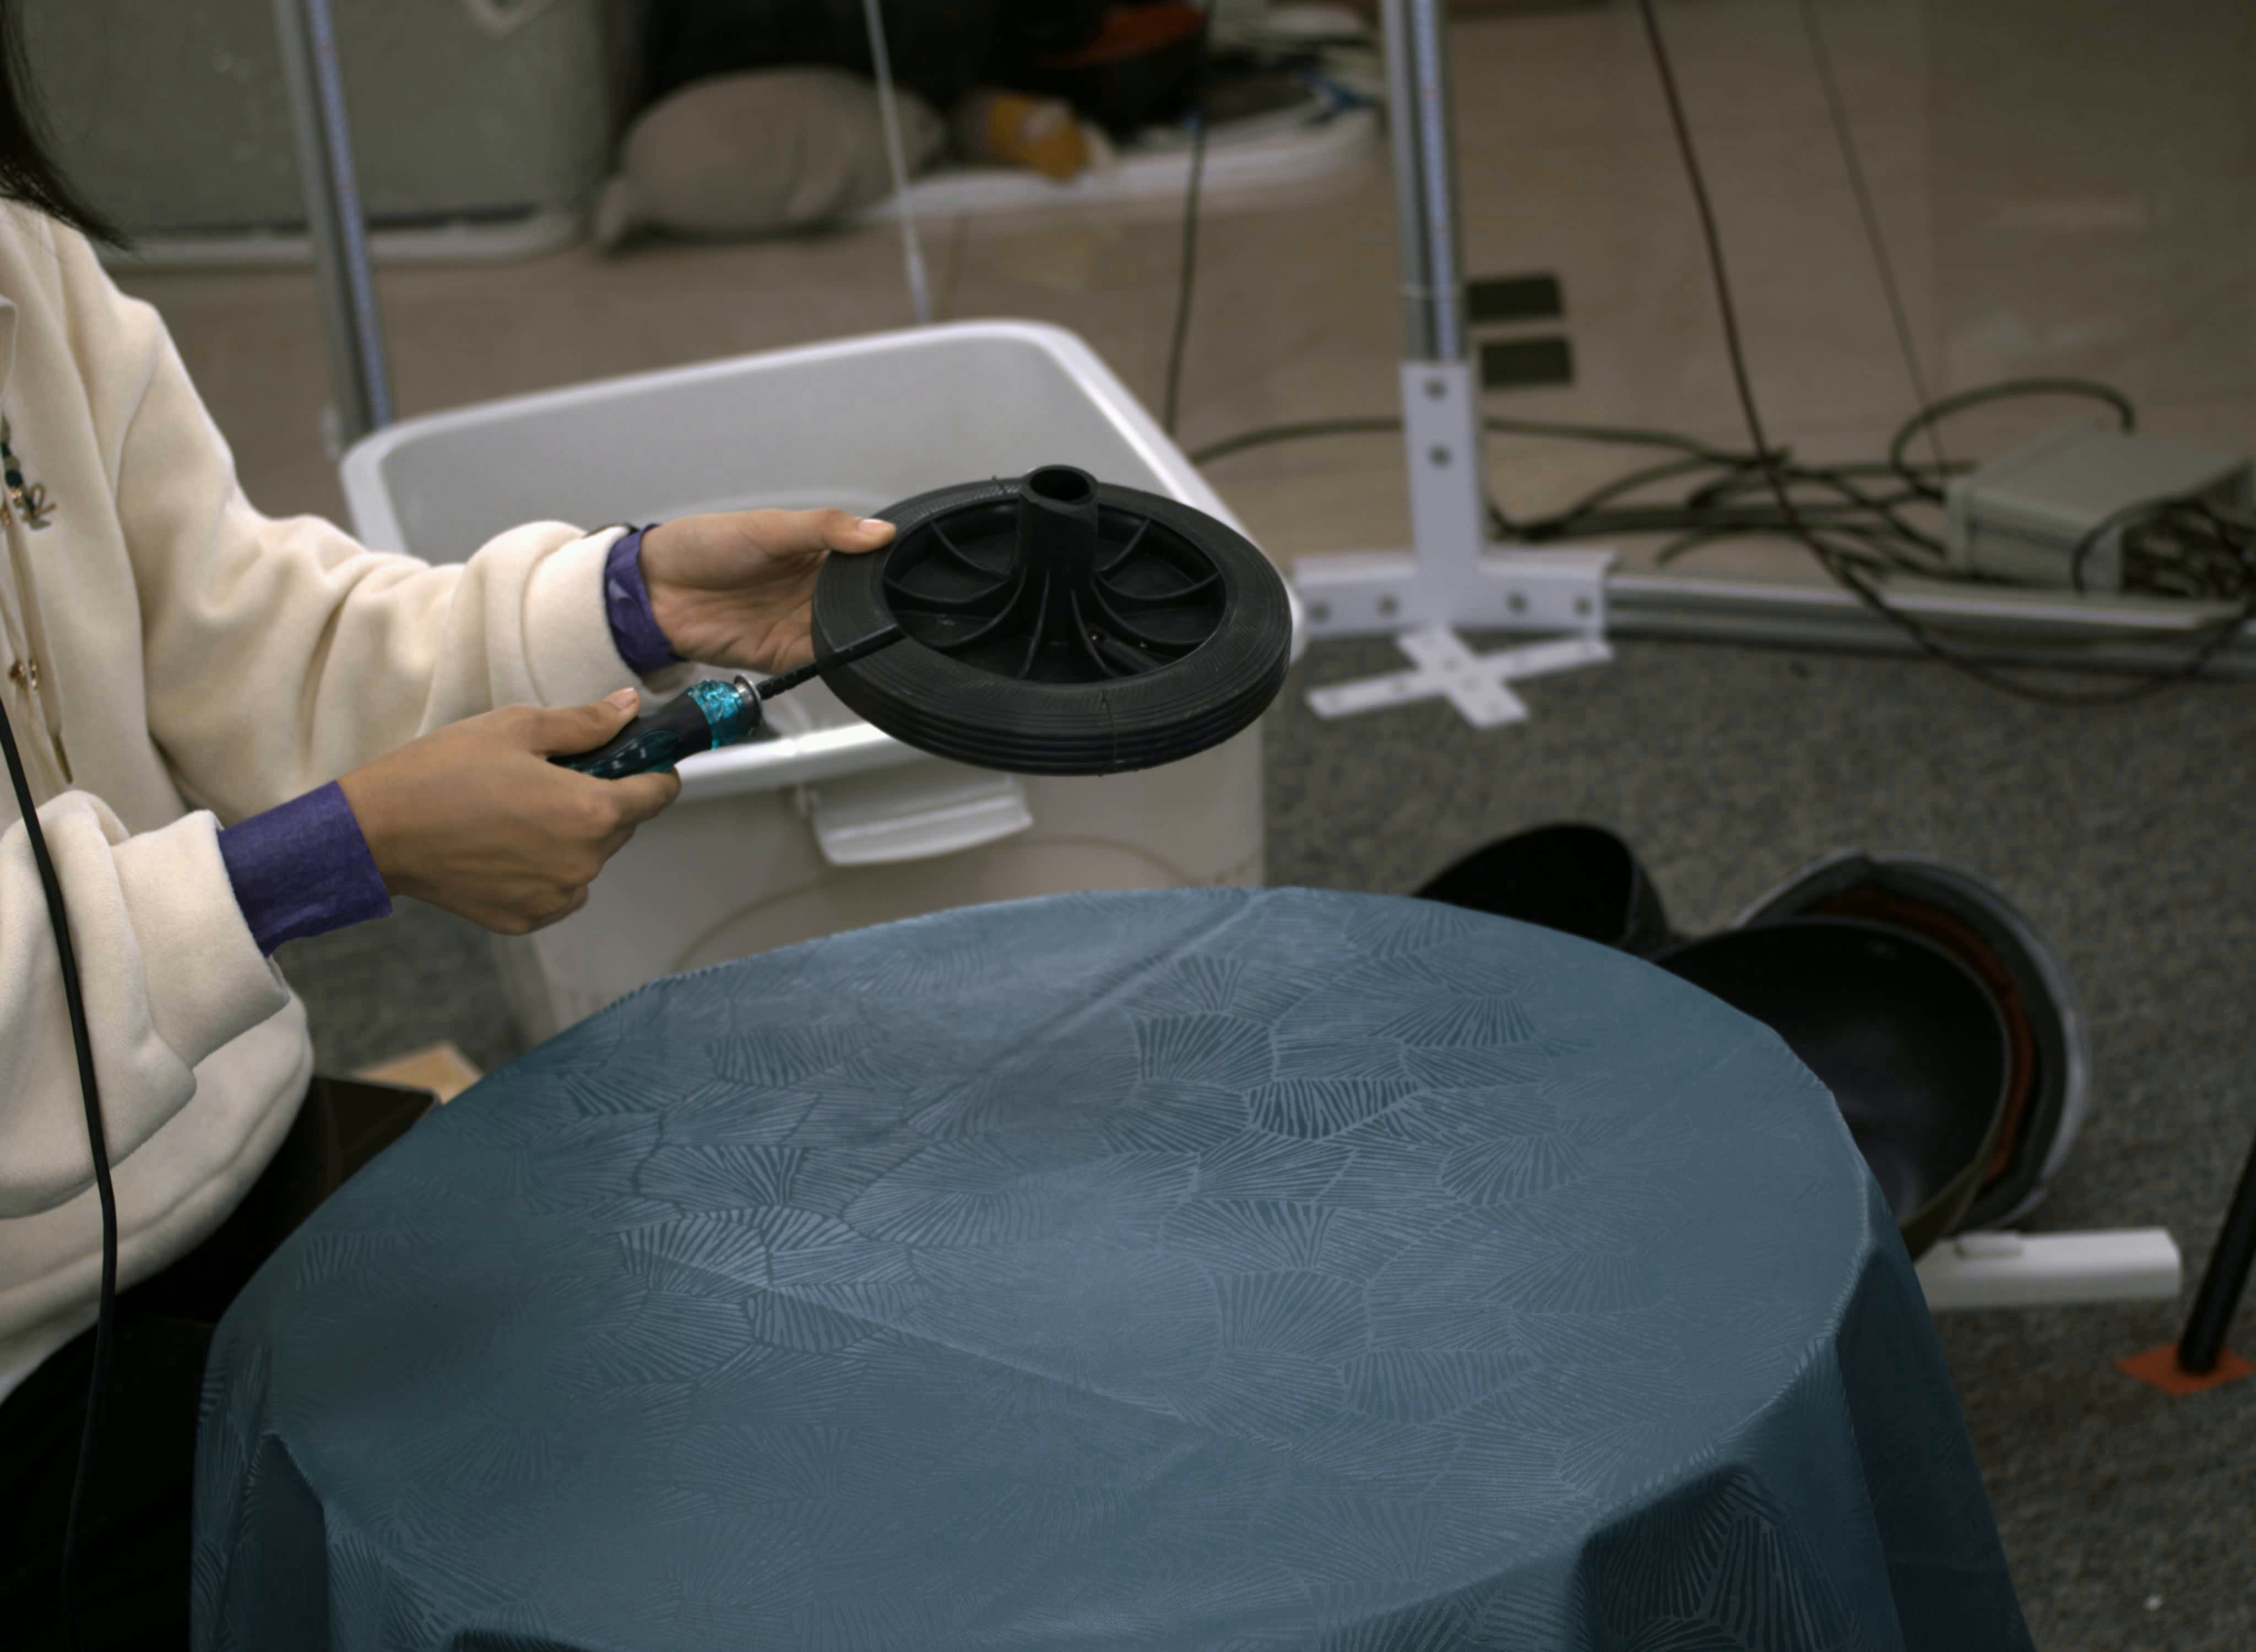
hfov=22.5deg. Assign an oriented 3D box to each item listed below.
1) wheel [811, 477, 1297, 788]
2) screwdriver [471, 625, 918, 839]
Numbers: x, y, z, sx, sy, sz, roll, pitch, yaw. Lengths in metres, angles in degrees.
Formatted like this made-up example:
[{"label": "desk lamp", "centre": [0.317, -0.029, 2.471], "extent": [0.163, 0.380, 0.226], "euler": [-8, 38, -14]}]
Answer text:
[{"label": "wheel", "centre": [-0.027, -0.094, 2.191], "extent": [0.189, 0.080, 0.184], "euler": [17, 38, 13]}, {"label": "screwdriver", "centre": [-0.157, -0.040, 2.089], "extent": [0.188, 0.034, 0.033], "euler": [-25, 31, -27]}]
